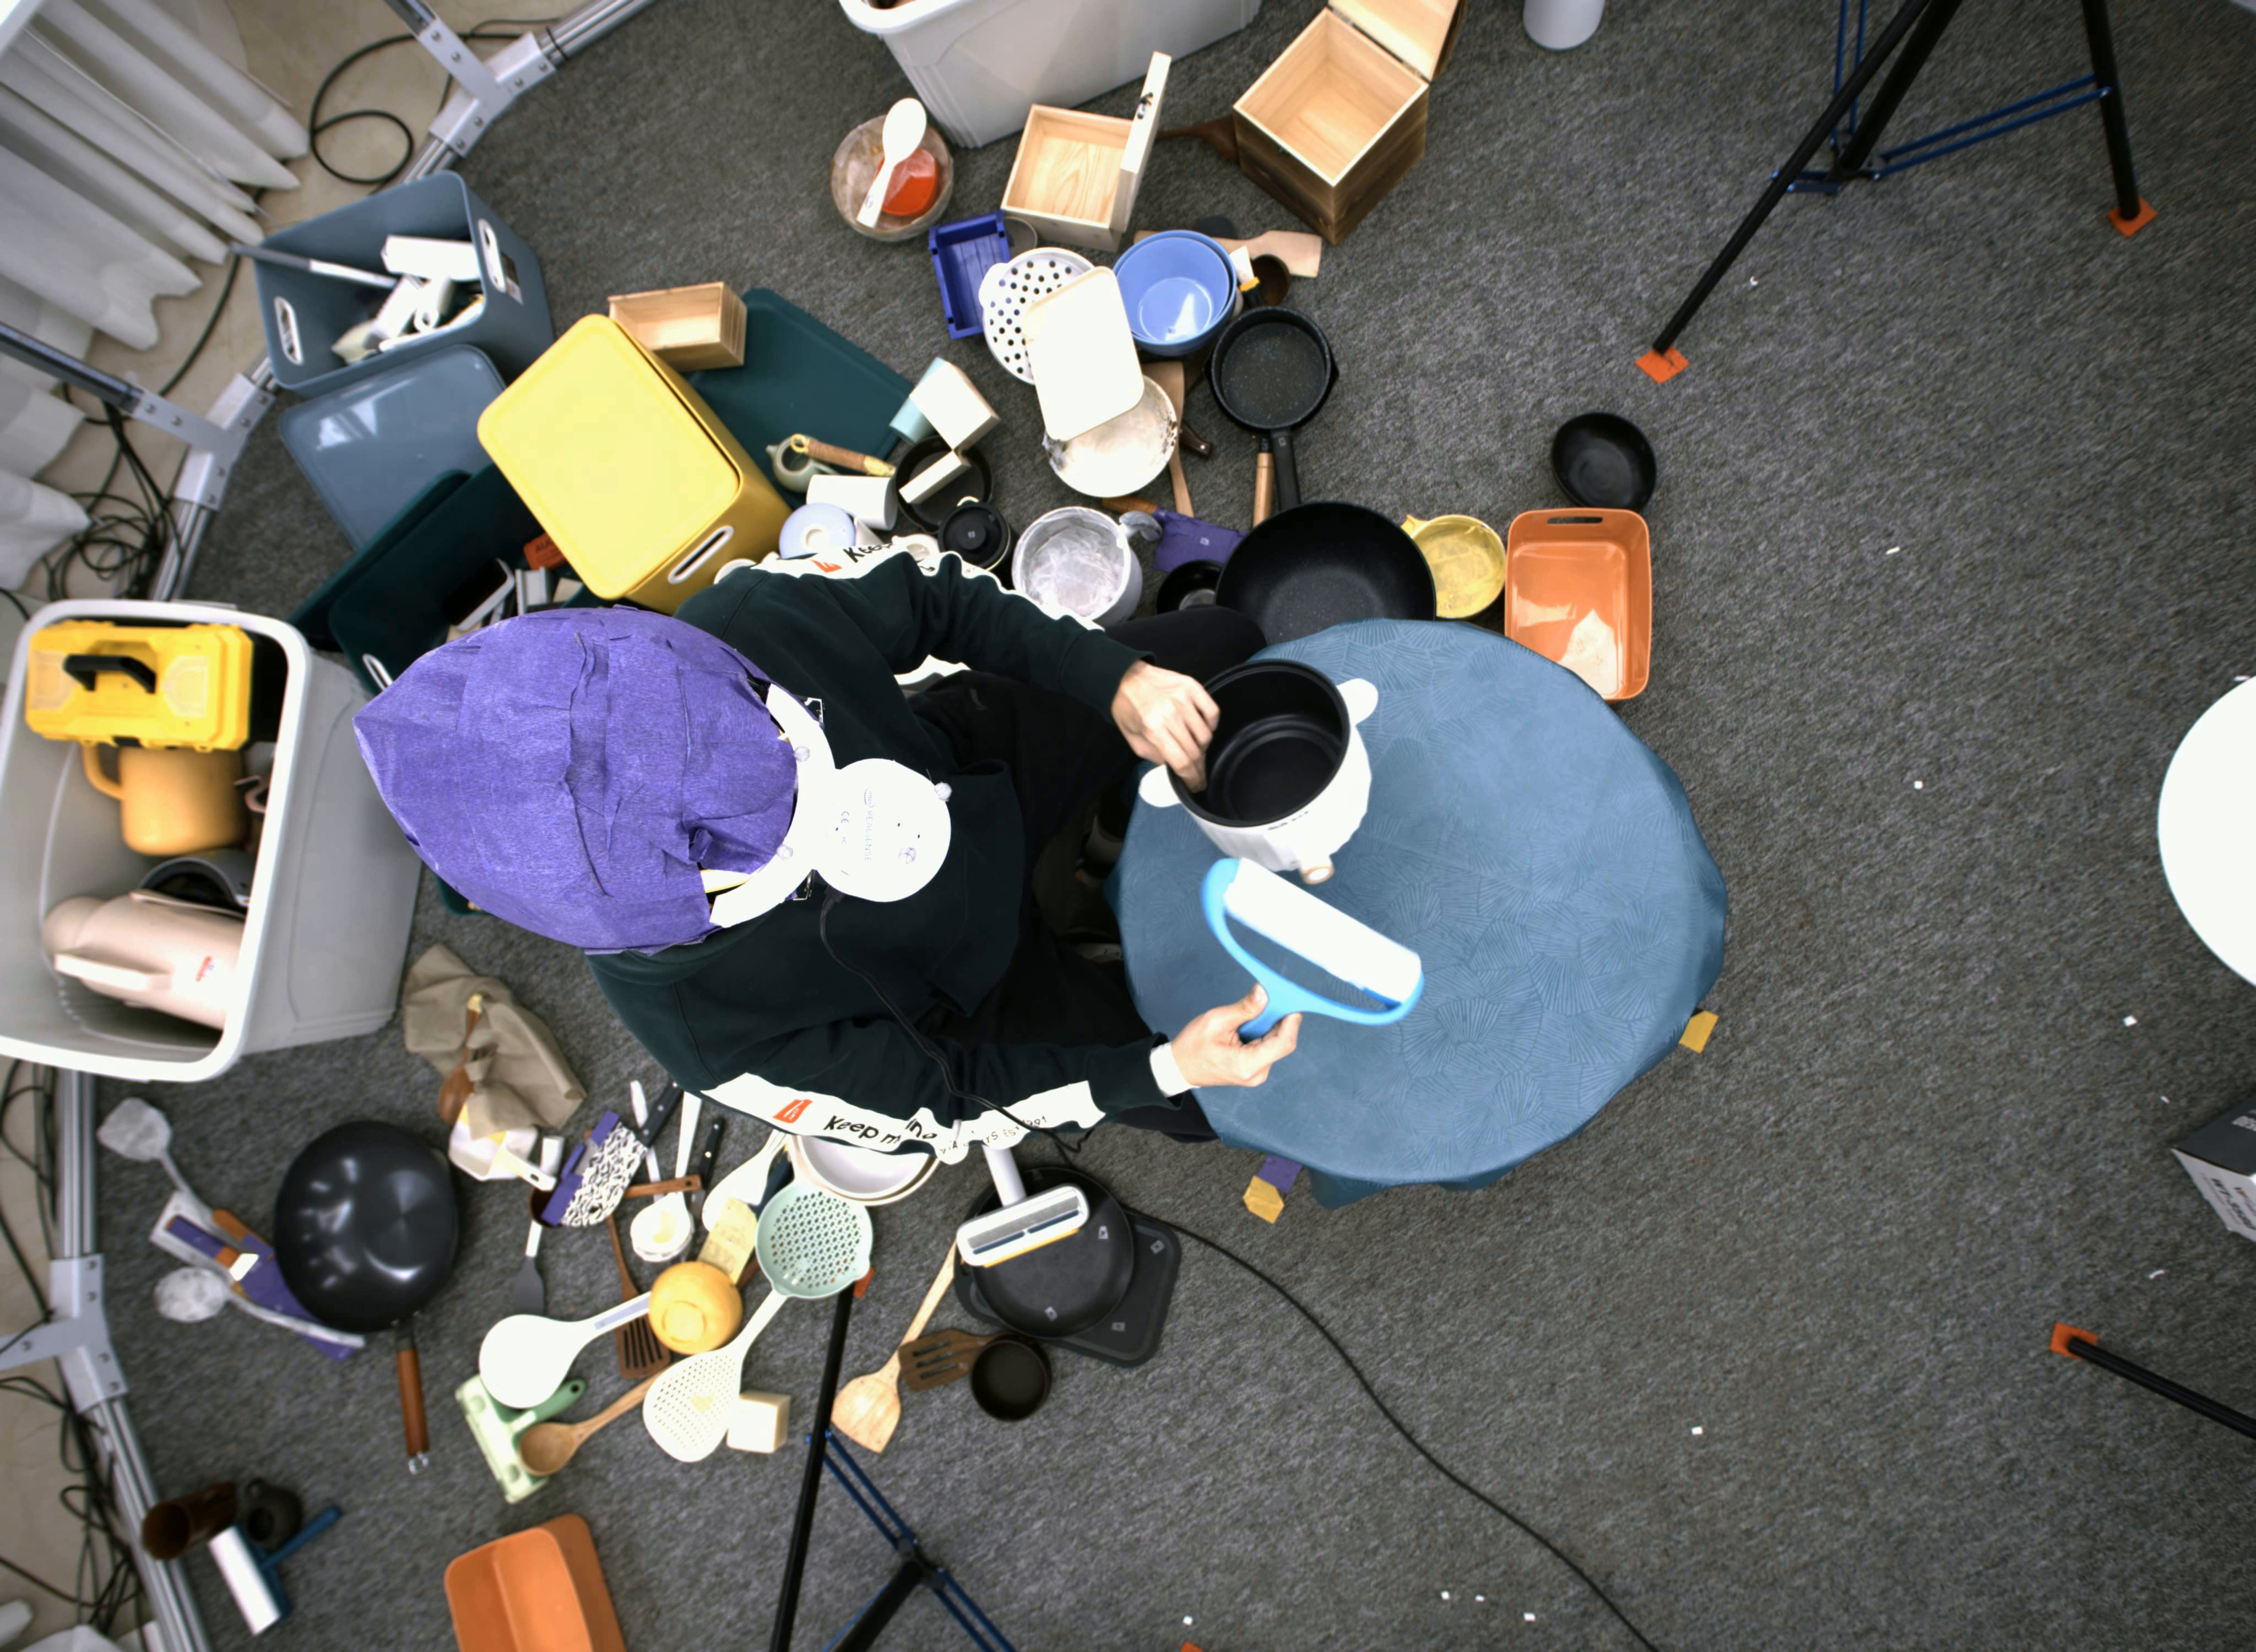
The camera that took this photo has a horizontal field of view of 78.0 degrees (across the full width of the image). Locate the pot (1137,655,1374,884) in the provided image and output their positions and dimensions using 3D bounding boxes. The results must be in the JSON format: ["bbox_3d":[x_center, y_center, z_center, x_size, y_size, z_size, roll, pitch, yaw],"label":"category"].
[{"bbox_3d":[0.143,-0.048,1.331,0.242,0.144,0.186,-25,53,13],"label":"pot"}]

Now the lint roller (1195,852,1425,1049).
[{"bbox_3d":[0.136,0.138,1.235,0.229,0.066,0.183,23,109,-14],"label":"lint roller"}]
